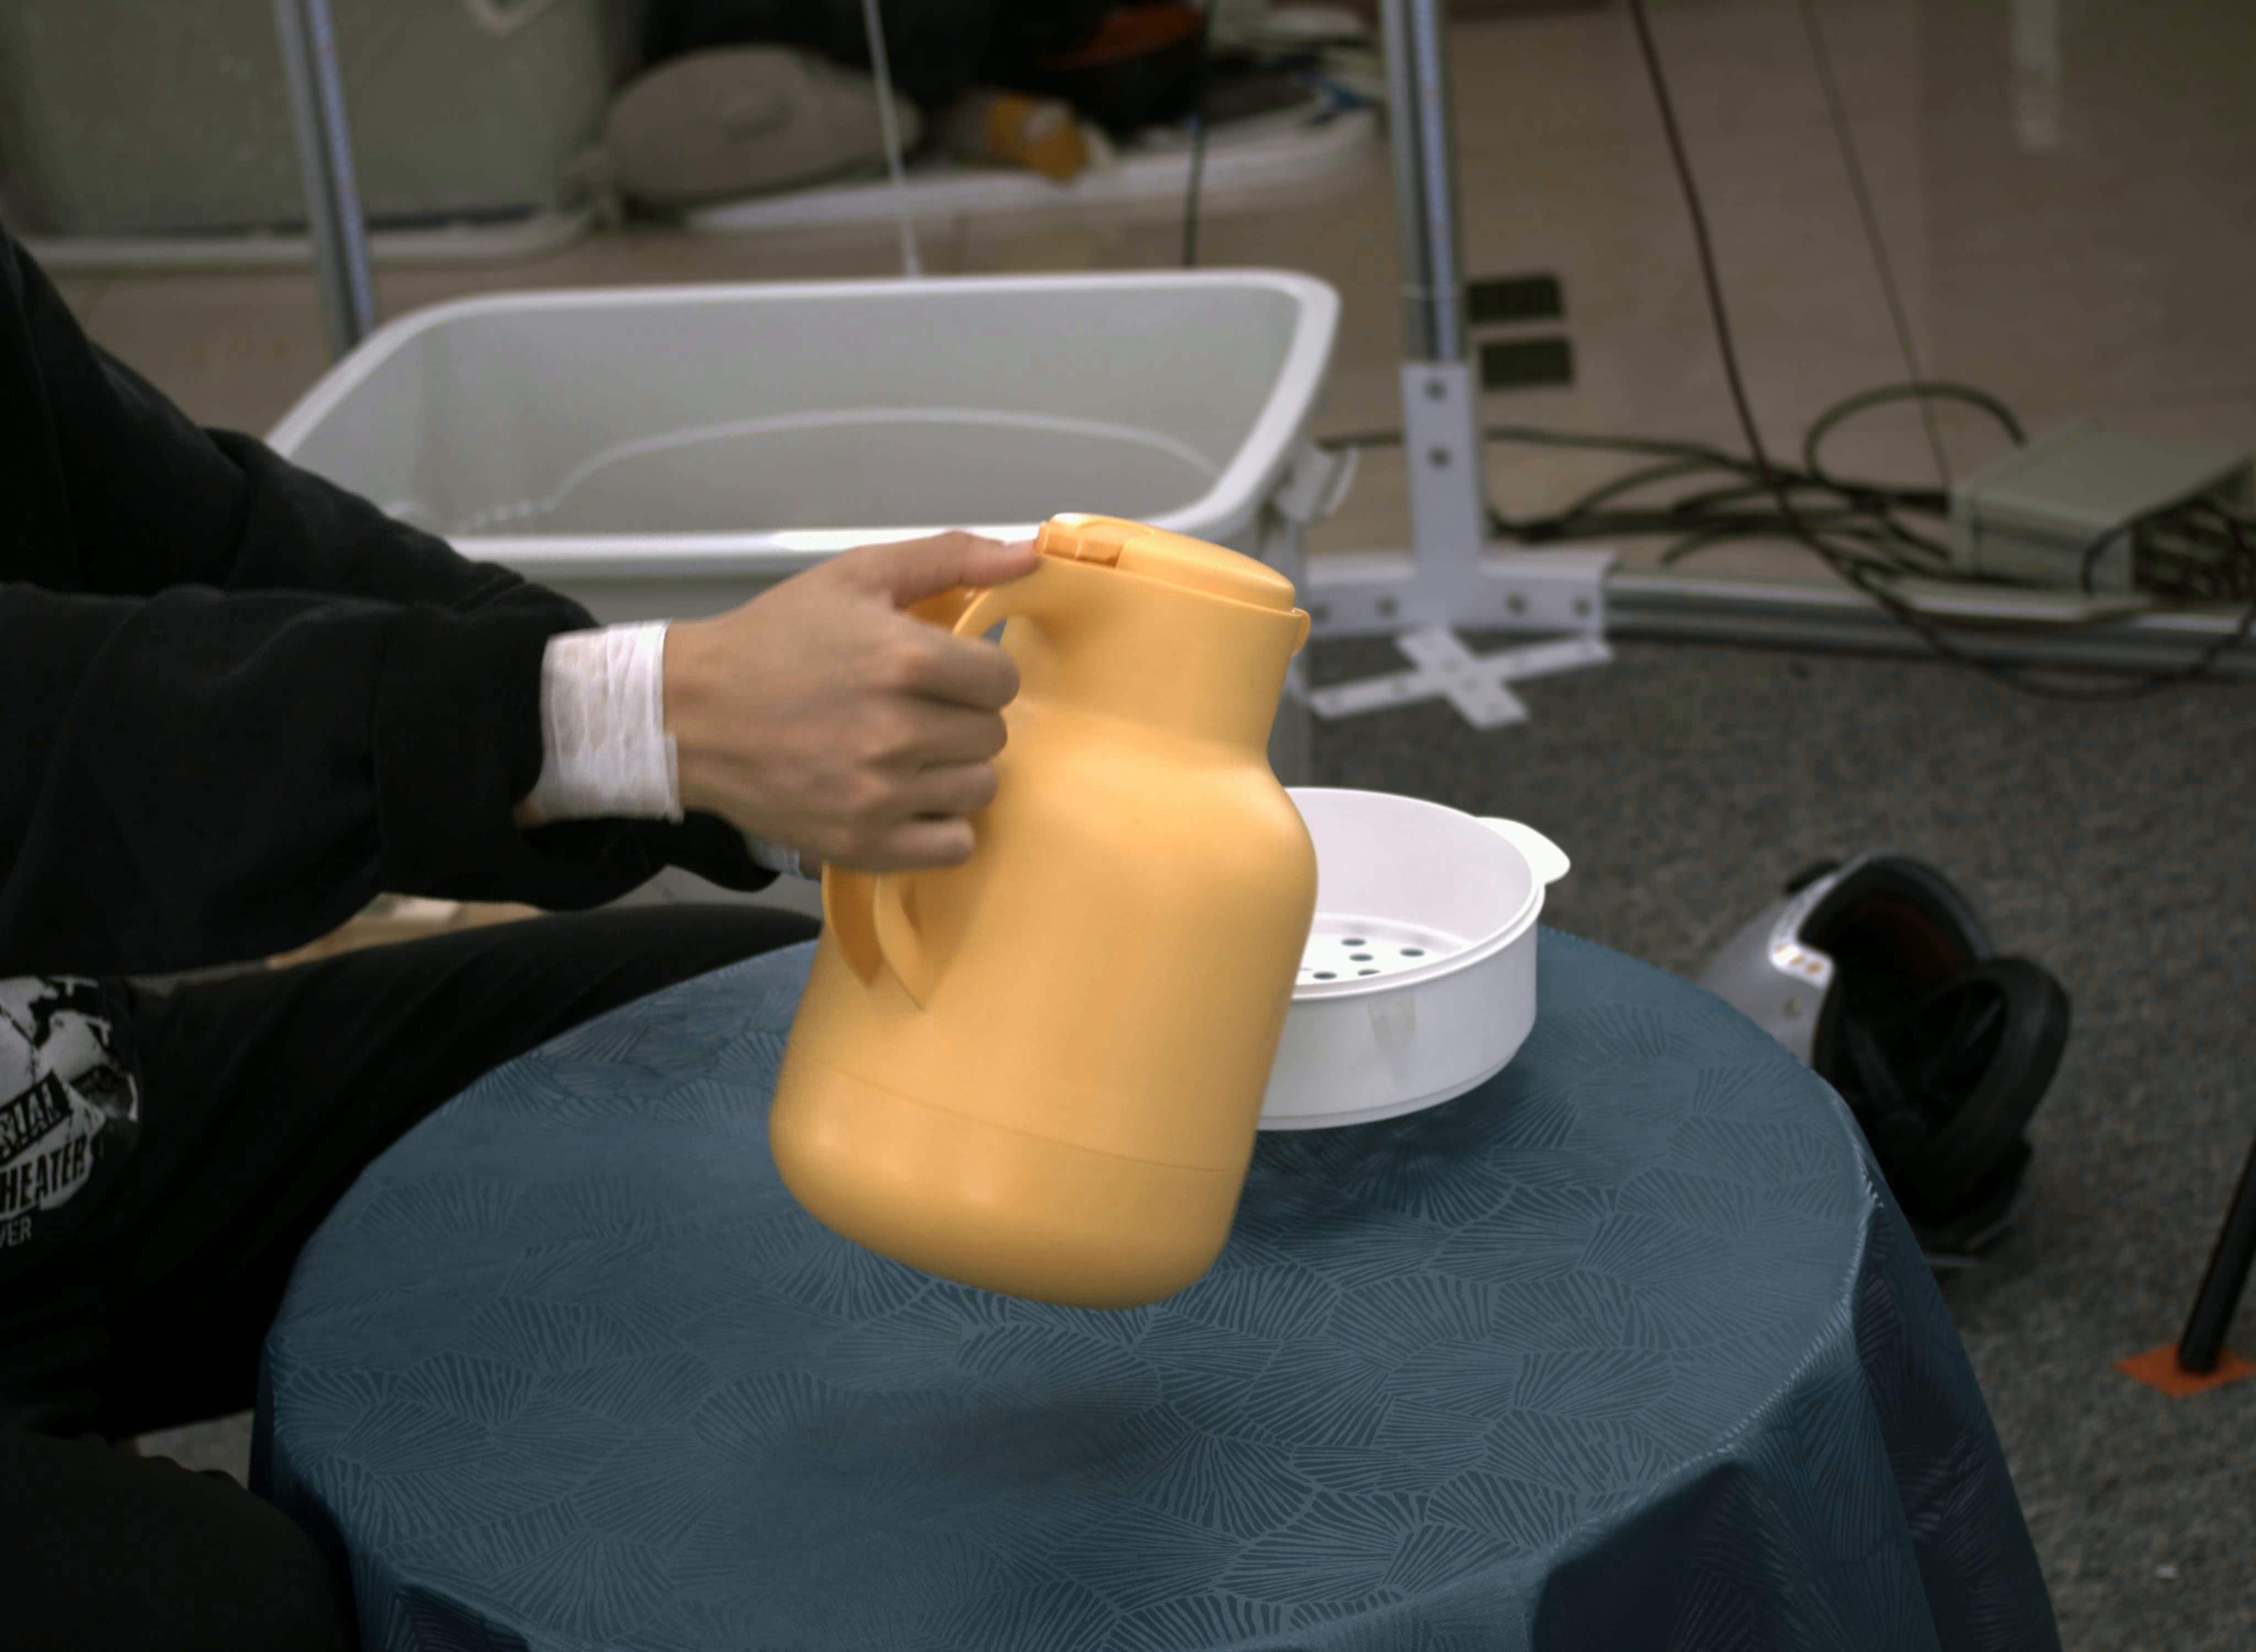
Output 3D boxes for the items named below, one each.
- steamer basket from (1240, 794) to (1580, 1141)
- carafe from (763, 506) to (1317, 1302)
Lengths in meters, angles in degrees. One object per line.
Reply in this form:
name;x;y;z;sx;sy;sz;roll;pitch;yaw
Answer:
steamer basket;0.064;0.055;2.191;0.230;0.070;0.199;-11;25;-19
carafe;-0.032;0.019;1.918;0.162;0.261;0.203;18;3;39
